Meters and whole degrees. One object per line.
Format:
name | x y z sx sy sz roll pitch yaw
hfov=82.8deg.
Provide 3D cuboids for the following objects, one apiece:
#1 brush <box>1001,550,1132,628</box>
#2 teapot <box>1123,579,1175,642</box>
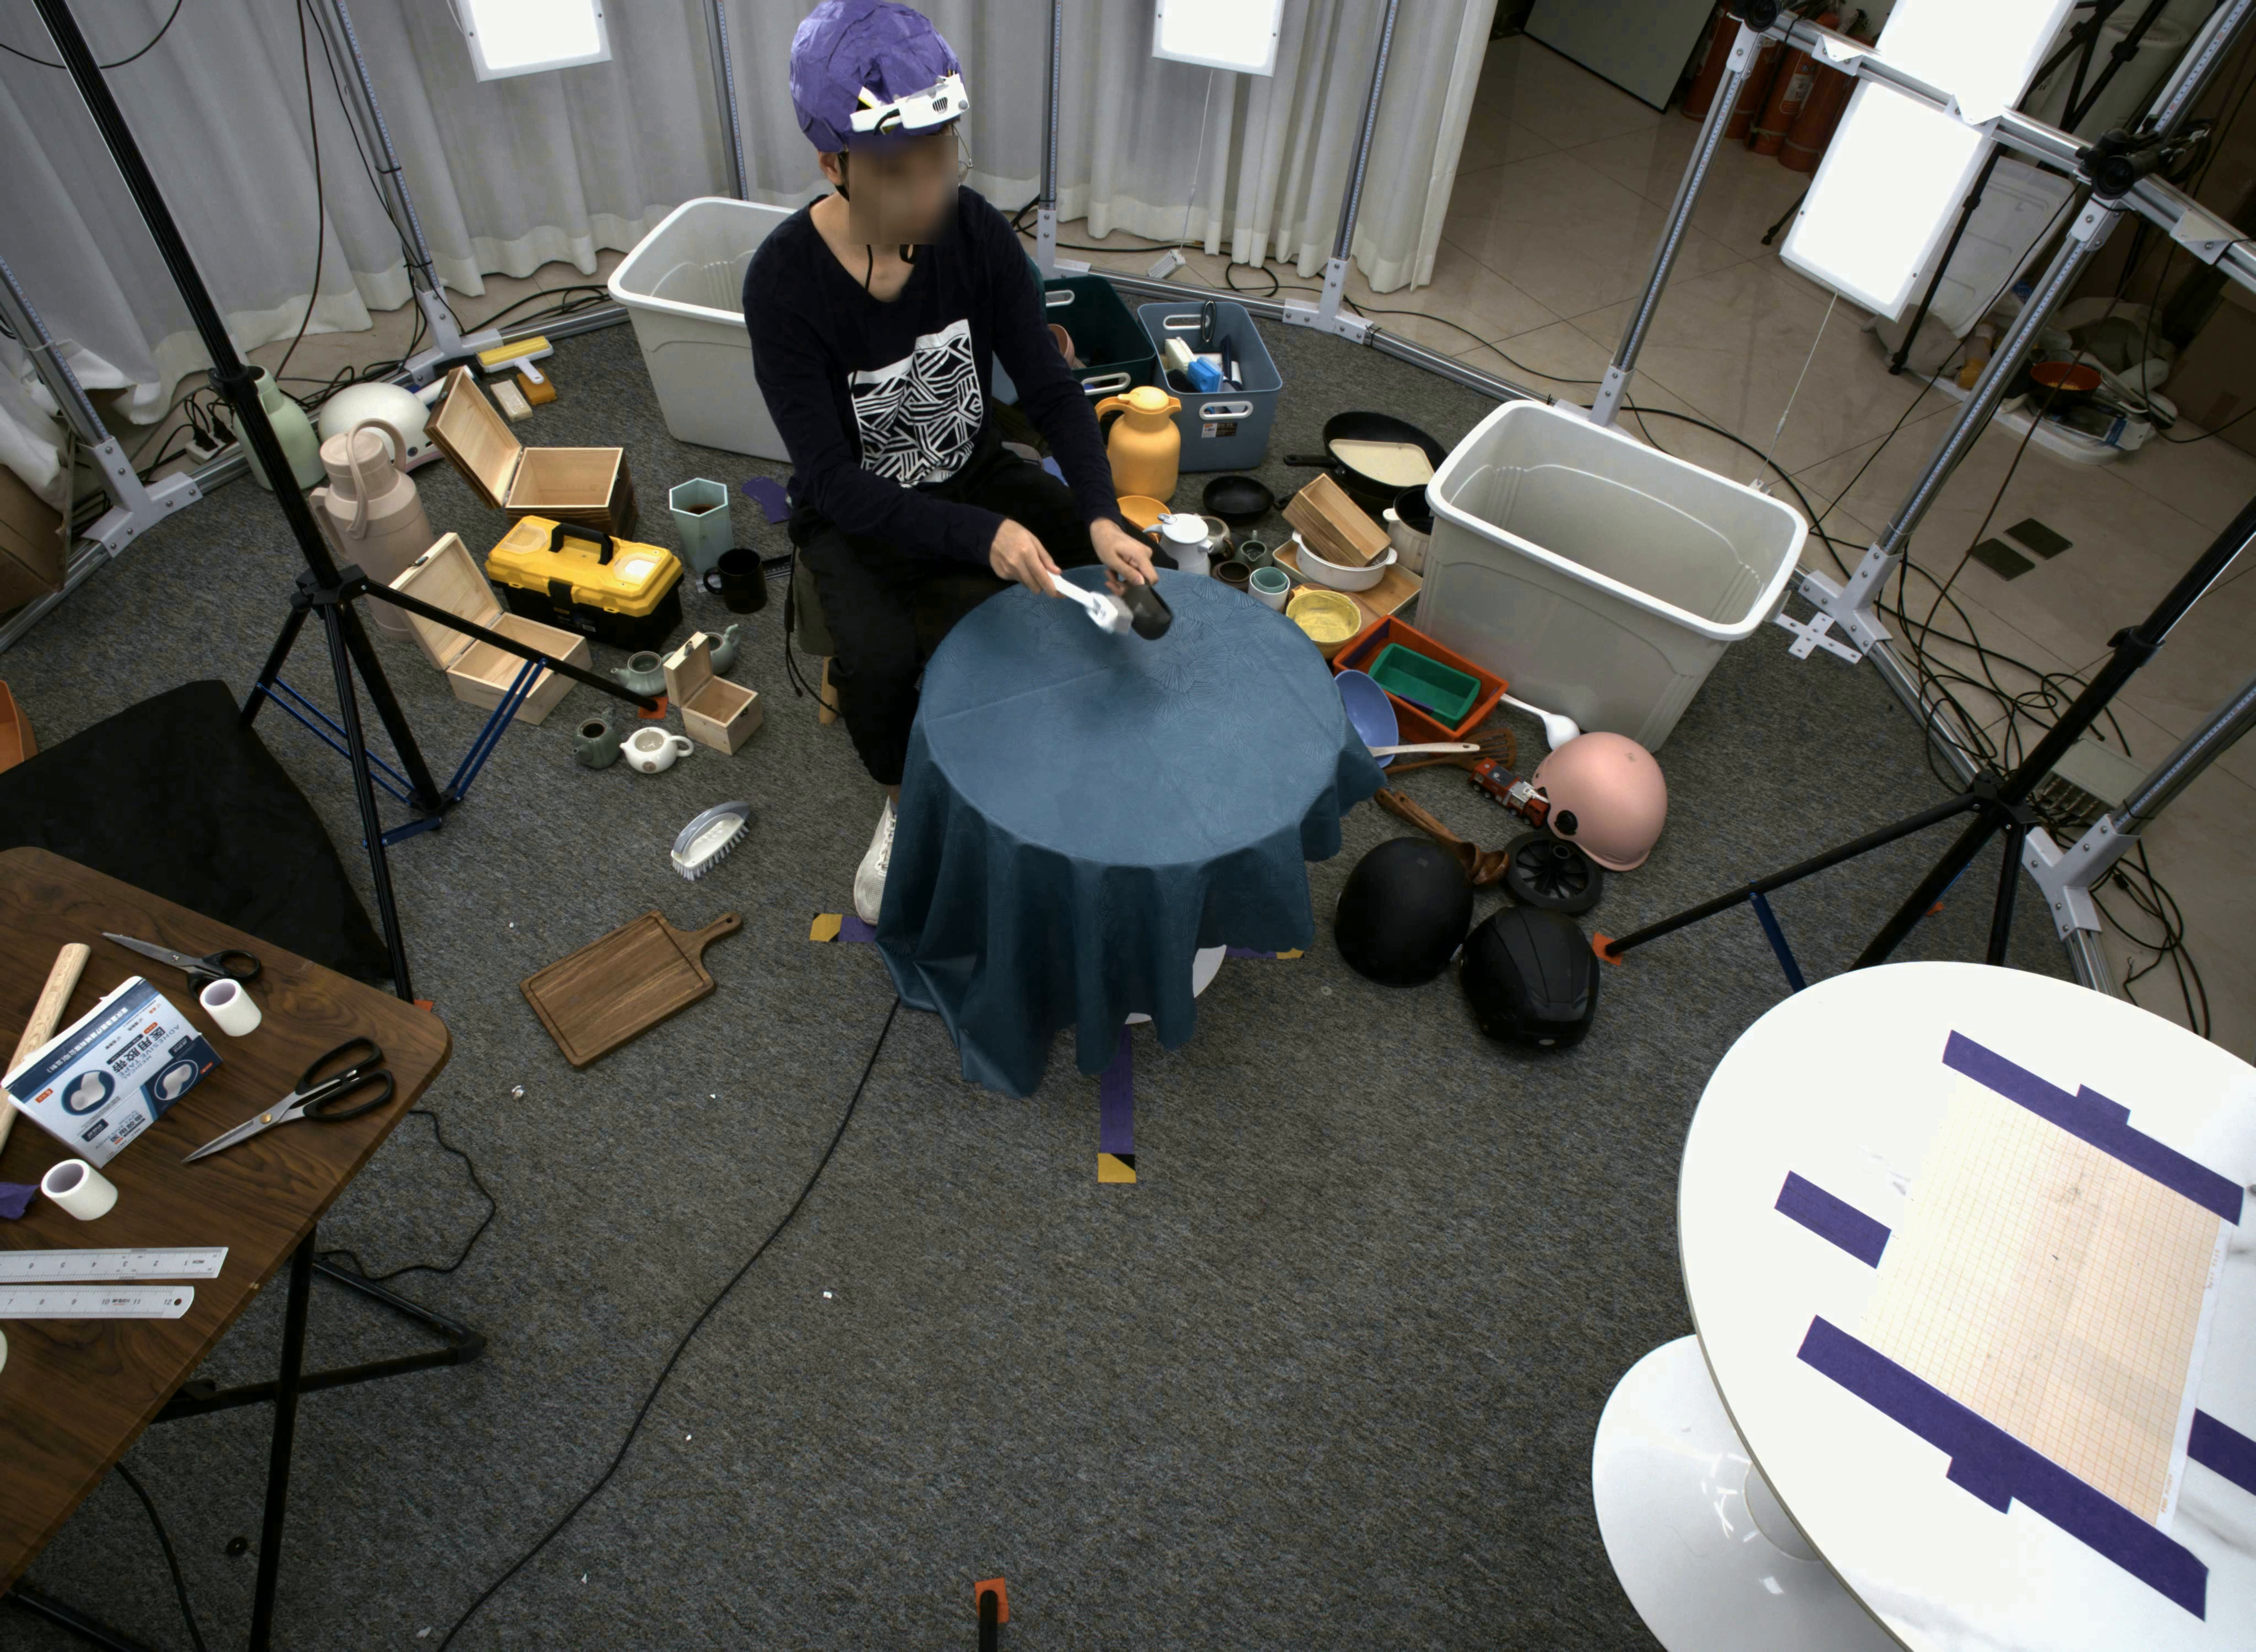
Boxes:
brush | -0.086 -0.342 1.829 0.050 0.034 0.247 -19 42 -42
teapot | 0.026 -0.308 1.813 0.052 0.081 0.117 -38 48 17
